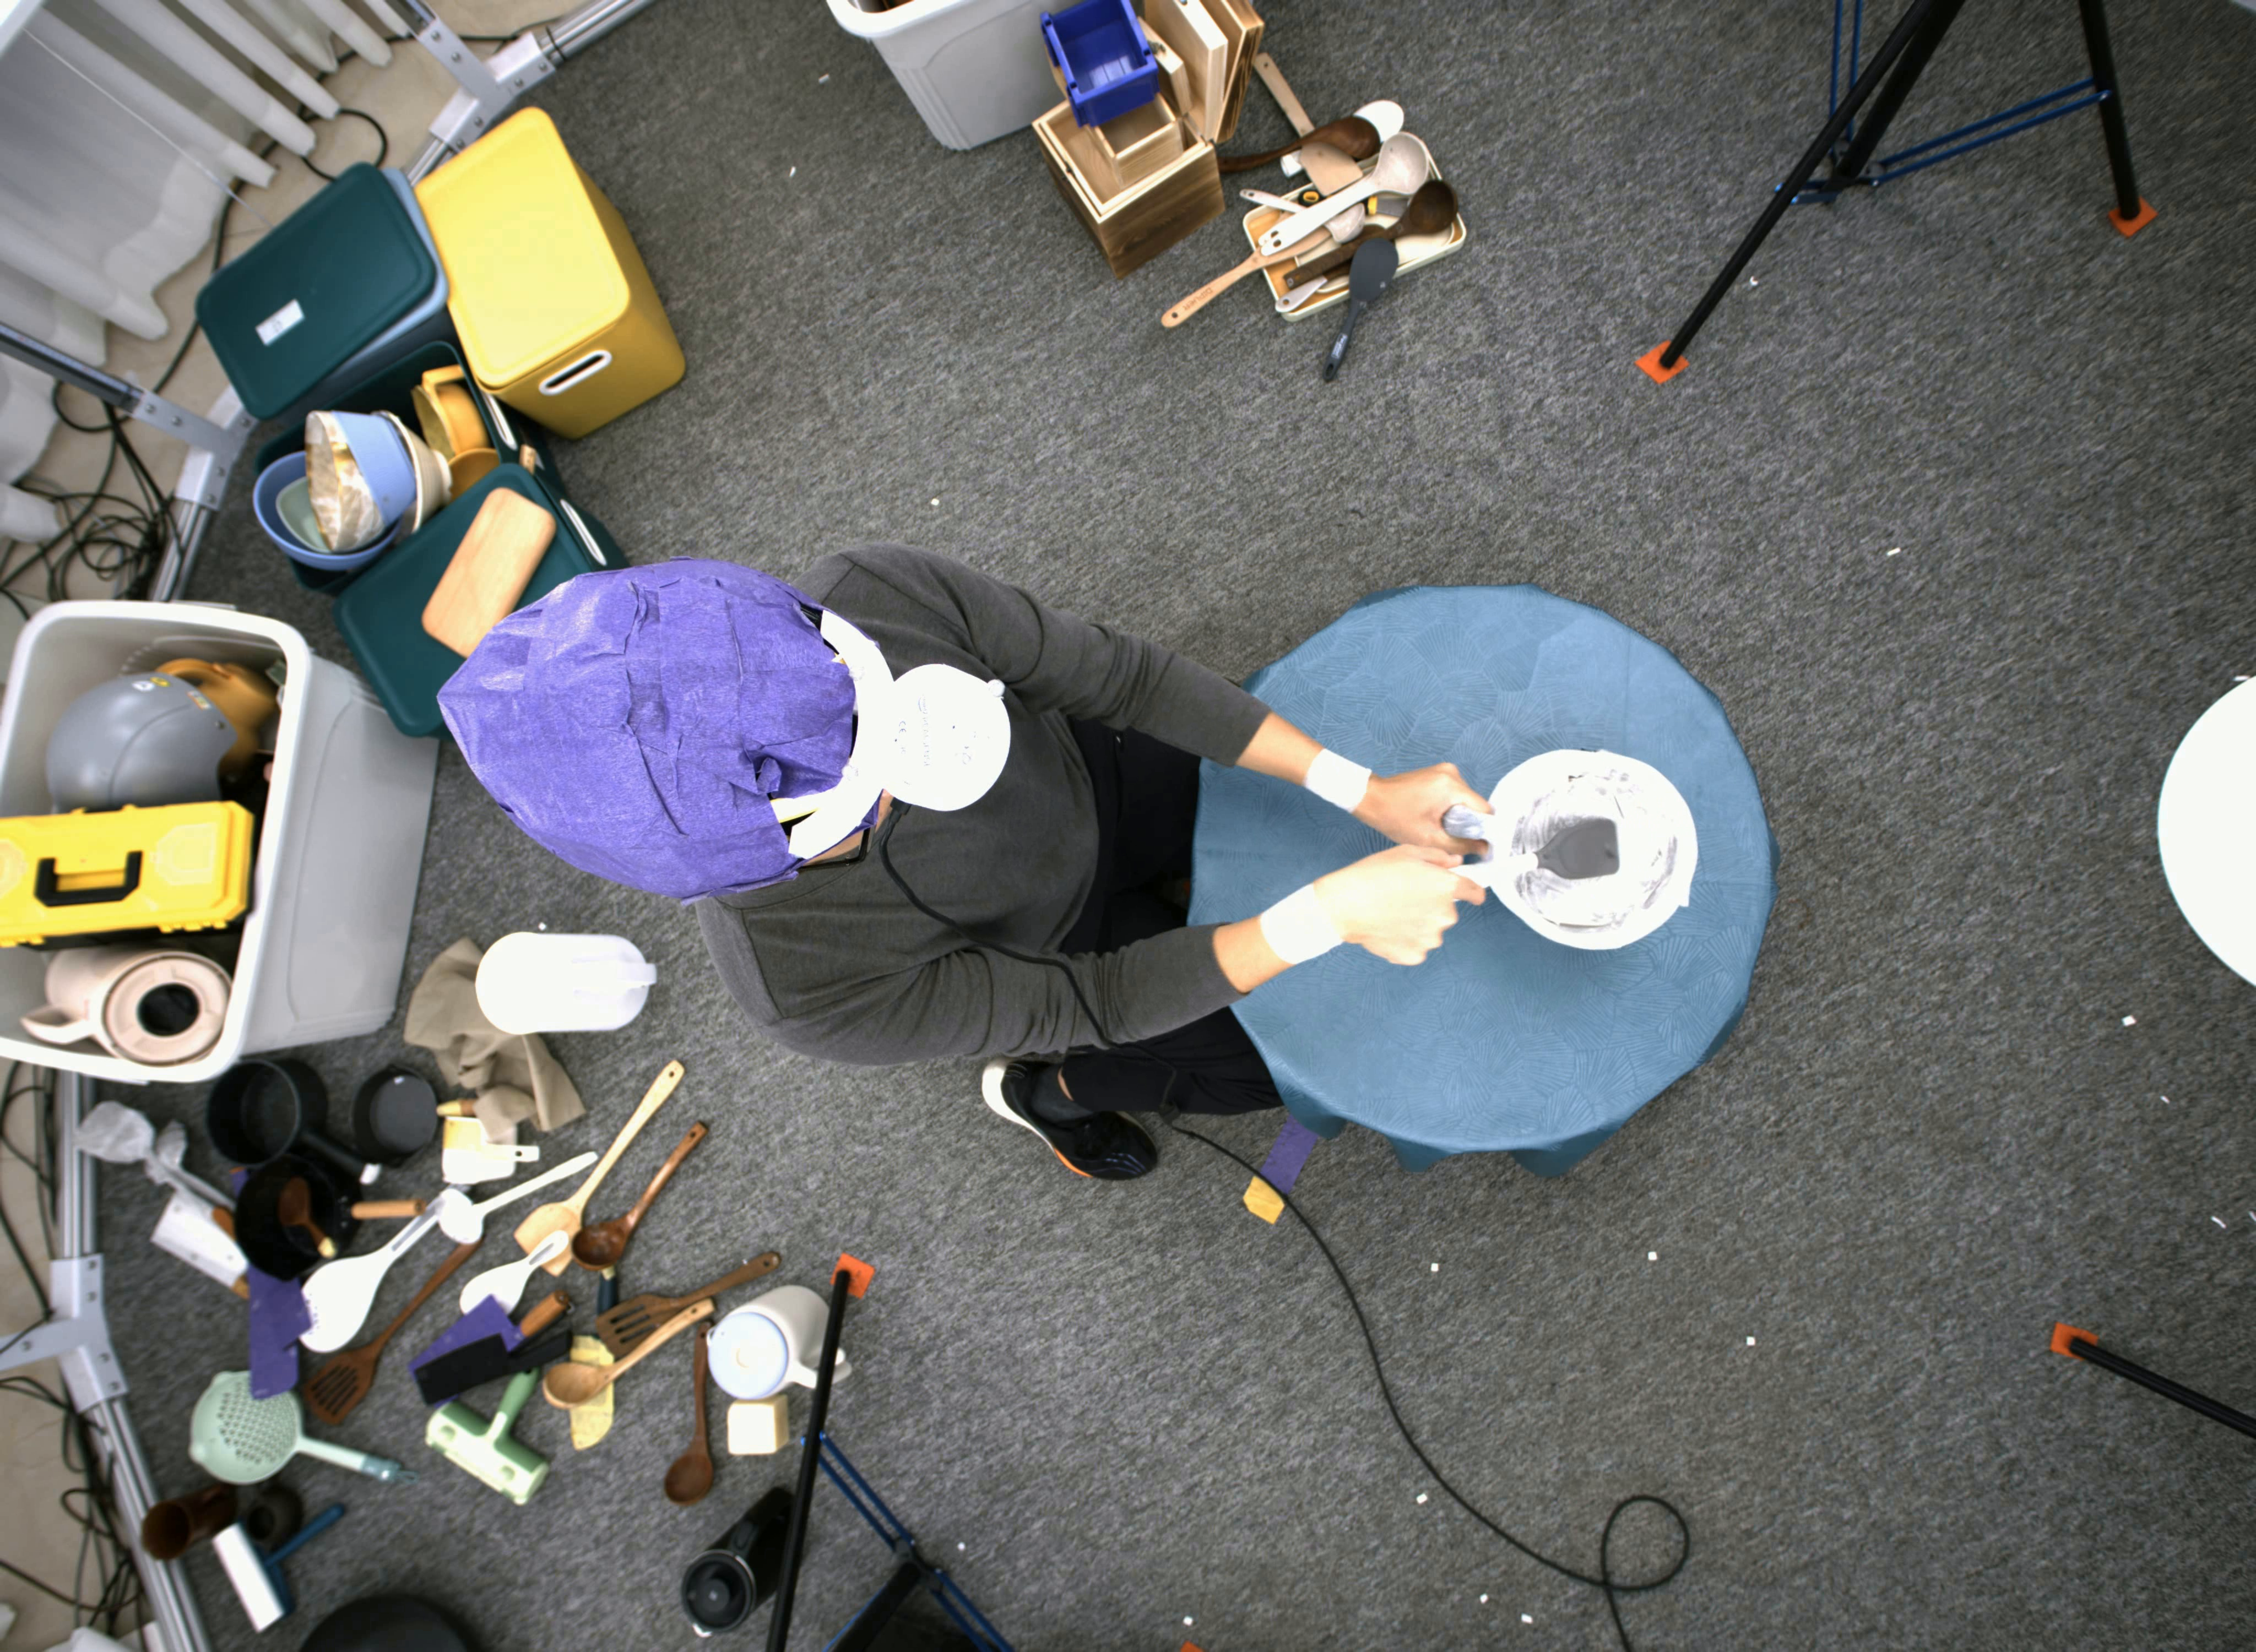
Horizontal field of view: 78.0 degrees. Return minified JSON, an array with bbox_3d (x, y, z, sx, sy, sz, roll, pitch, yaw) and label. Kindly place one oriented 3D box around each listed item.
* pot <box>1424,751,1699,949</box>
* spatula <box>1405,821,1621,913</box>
[{"bbox_3d":[0.401,0.010,1.295,0.234,0.135,0.180,11,97,1],"label":"pot"},{"bbox_3d":[0.354,0.037,1.235,0.032,0.284,0.058,-7,92,53],"label":"spatula"}]
